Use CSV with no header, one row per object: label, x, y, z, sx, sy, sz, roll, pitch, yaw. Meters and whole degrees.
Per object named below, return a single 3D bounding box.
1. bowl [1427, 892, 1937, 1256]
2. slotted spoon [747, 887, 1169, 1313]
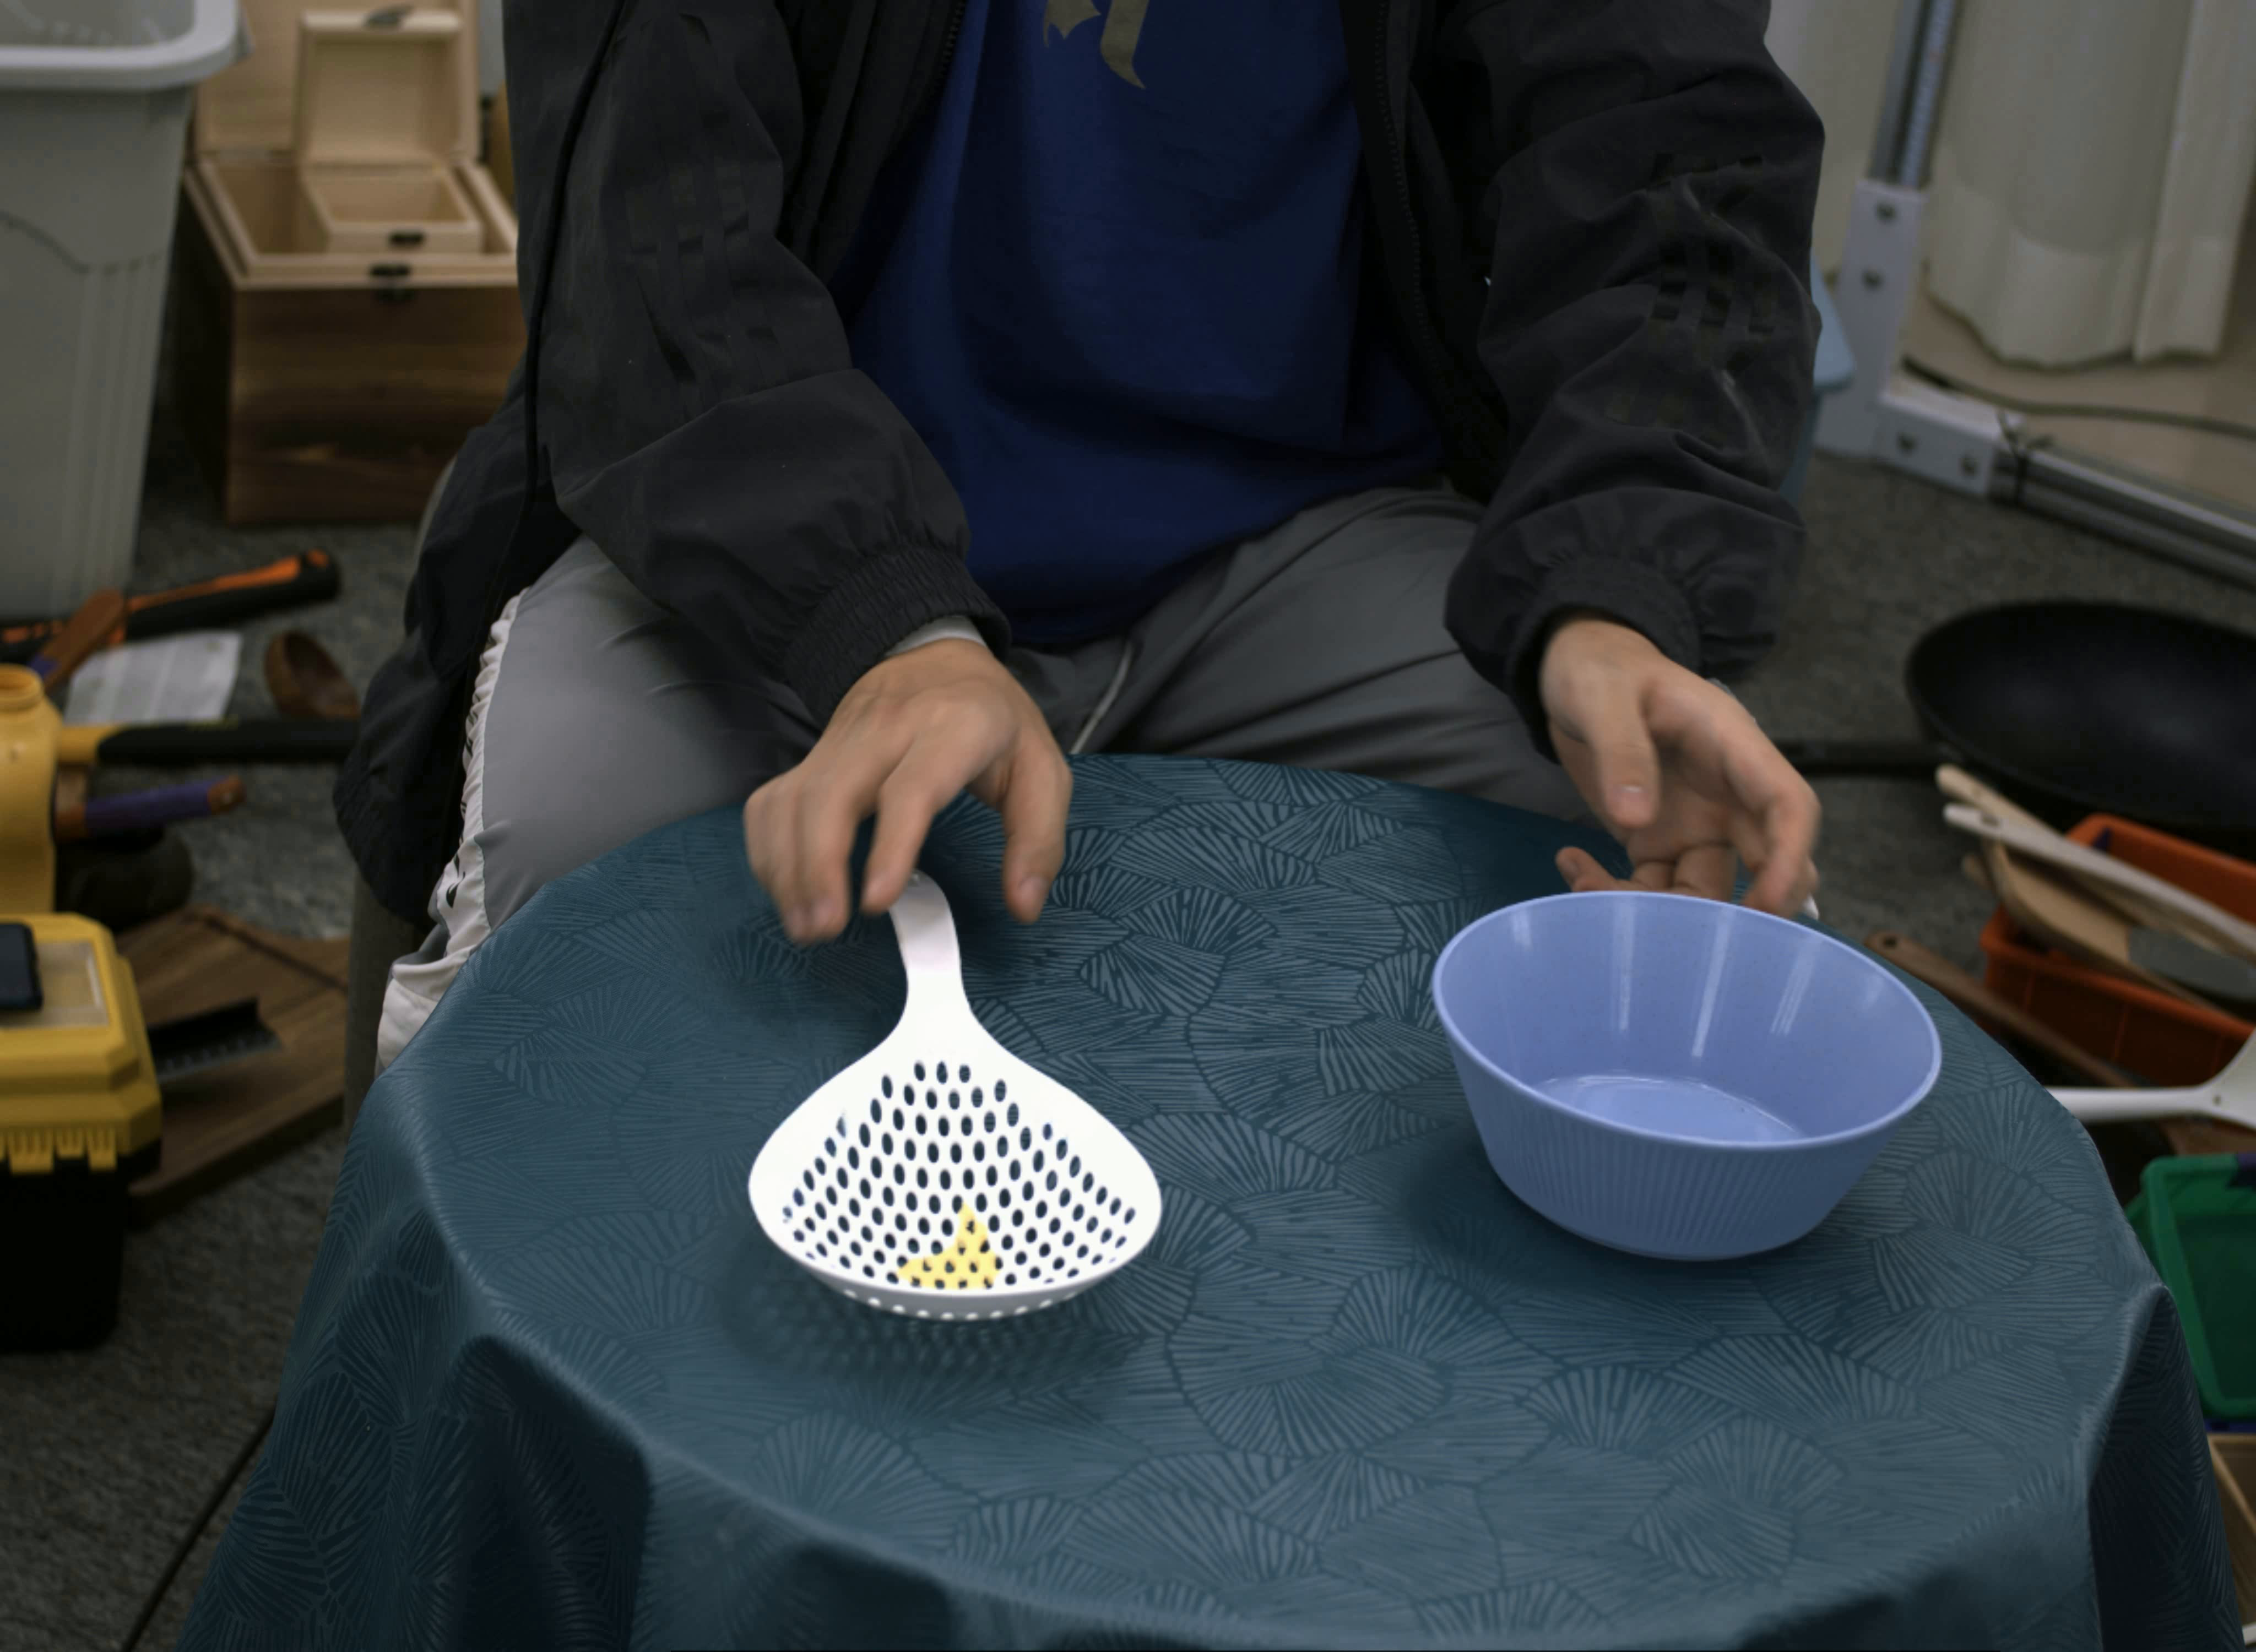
bowl,0.186,0.091,1.832,0.175,0.070,0.177,5,26,-3
slotted spoon,-0.067,0.081,1.825,0.136,0.050,0.350,-3,27,-5
